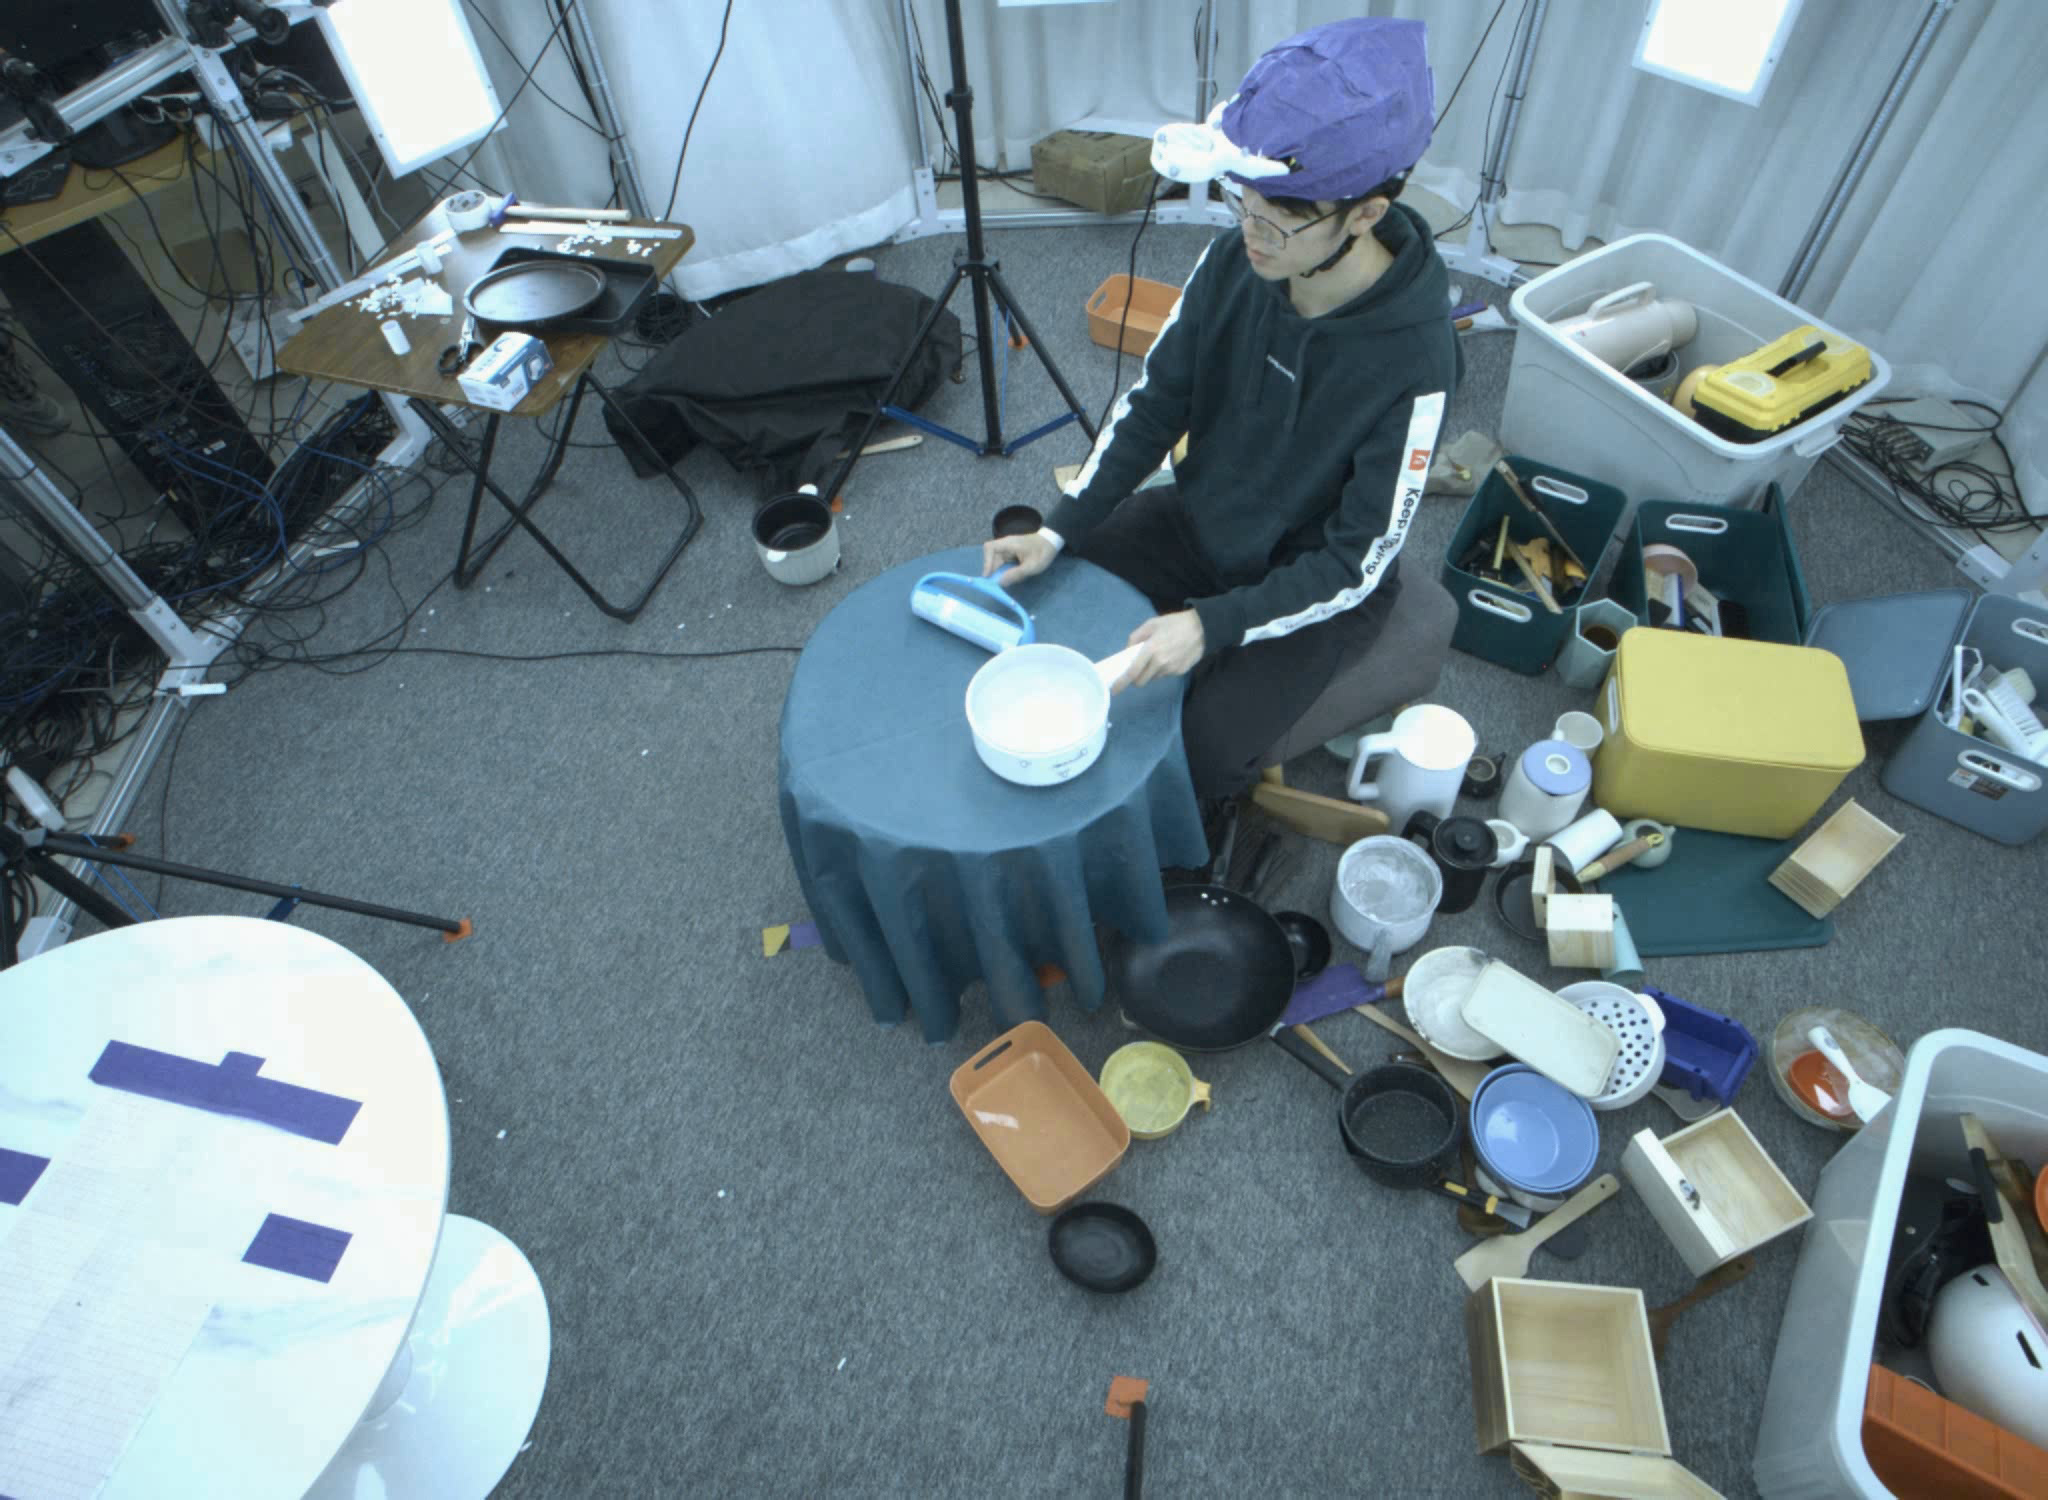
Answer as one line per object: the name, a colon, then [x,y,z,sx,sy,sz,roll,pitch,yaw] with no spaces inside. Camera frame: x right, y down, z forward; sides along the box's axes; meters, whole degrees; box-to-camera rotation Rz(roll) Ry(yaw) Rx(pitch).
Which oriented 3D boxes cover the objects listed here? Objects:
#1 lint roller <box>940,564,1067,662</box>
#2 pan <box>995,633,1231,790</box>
lint roller: [-0.004,-0.239,1.909,0.225,0.069,0.180,26,68,21]
pan: [0.132,-0.068,1.765,0.357,0.103,0.197,-23,56,-14]
